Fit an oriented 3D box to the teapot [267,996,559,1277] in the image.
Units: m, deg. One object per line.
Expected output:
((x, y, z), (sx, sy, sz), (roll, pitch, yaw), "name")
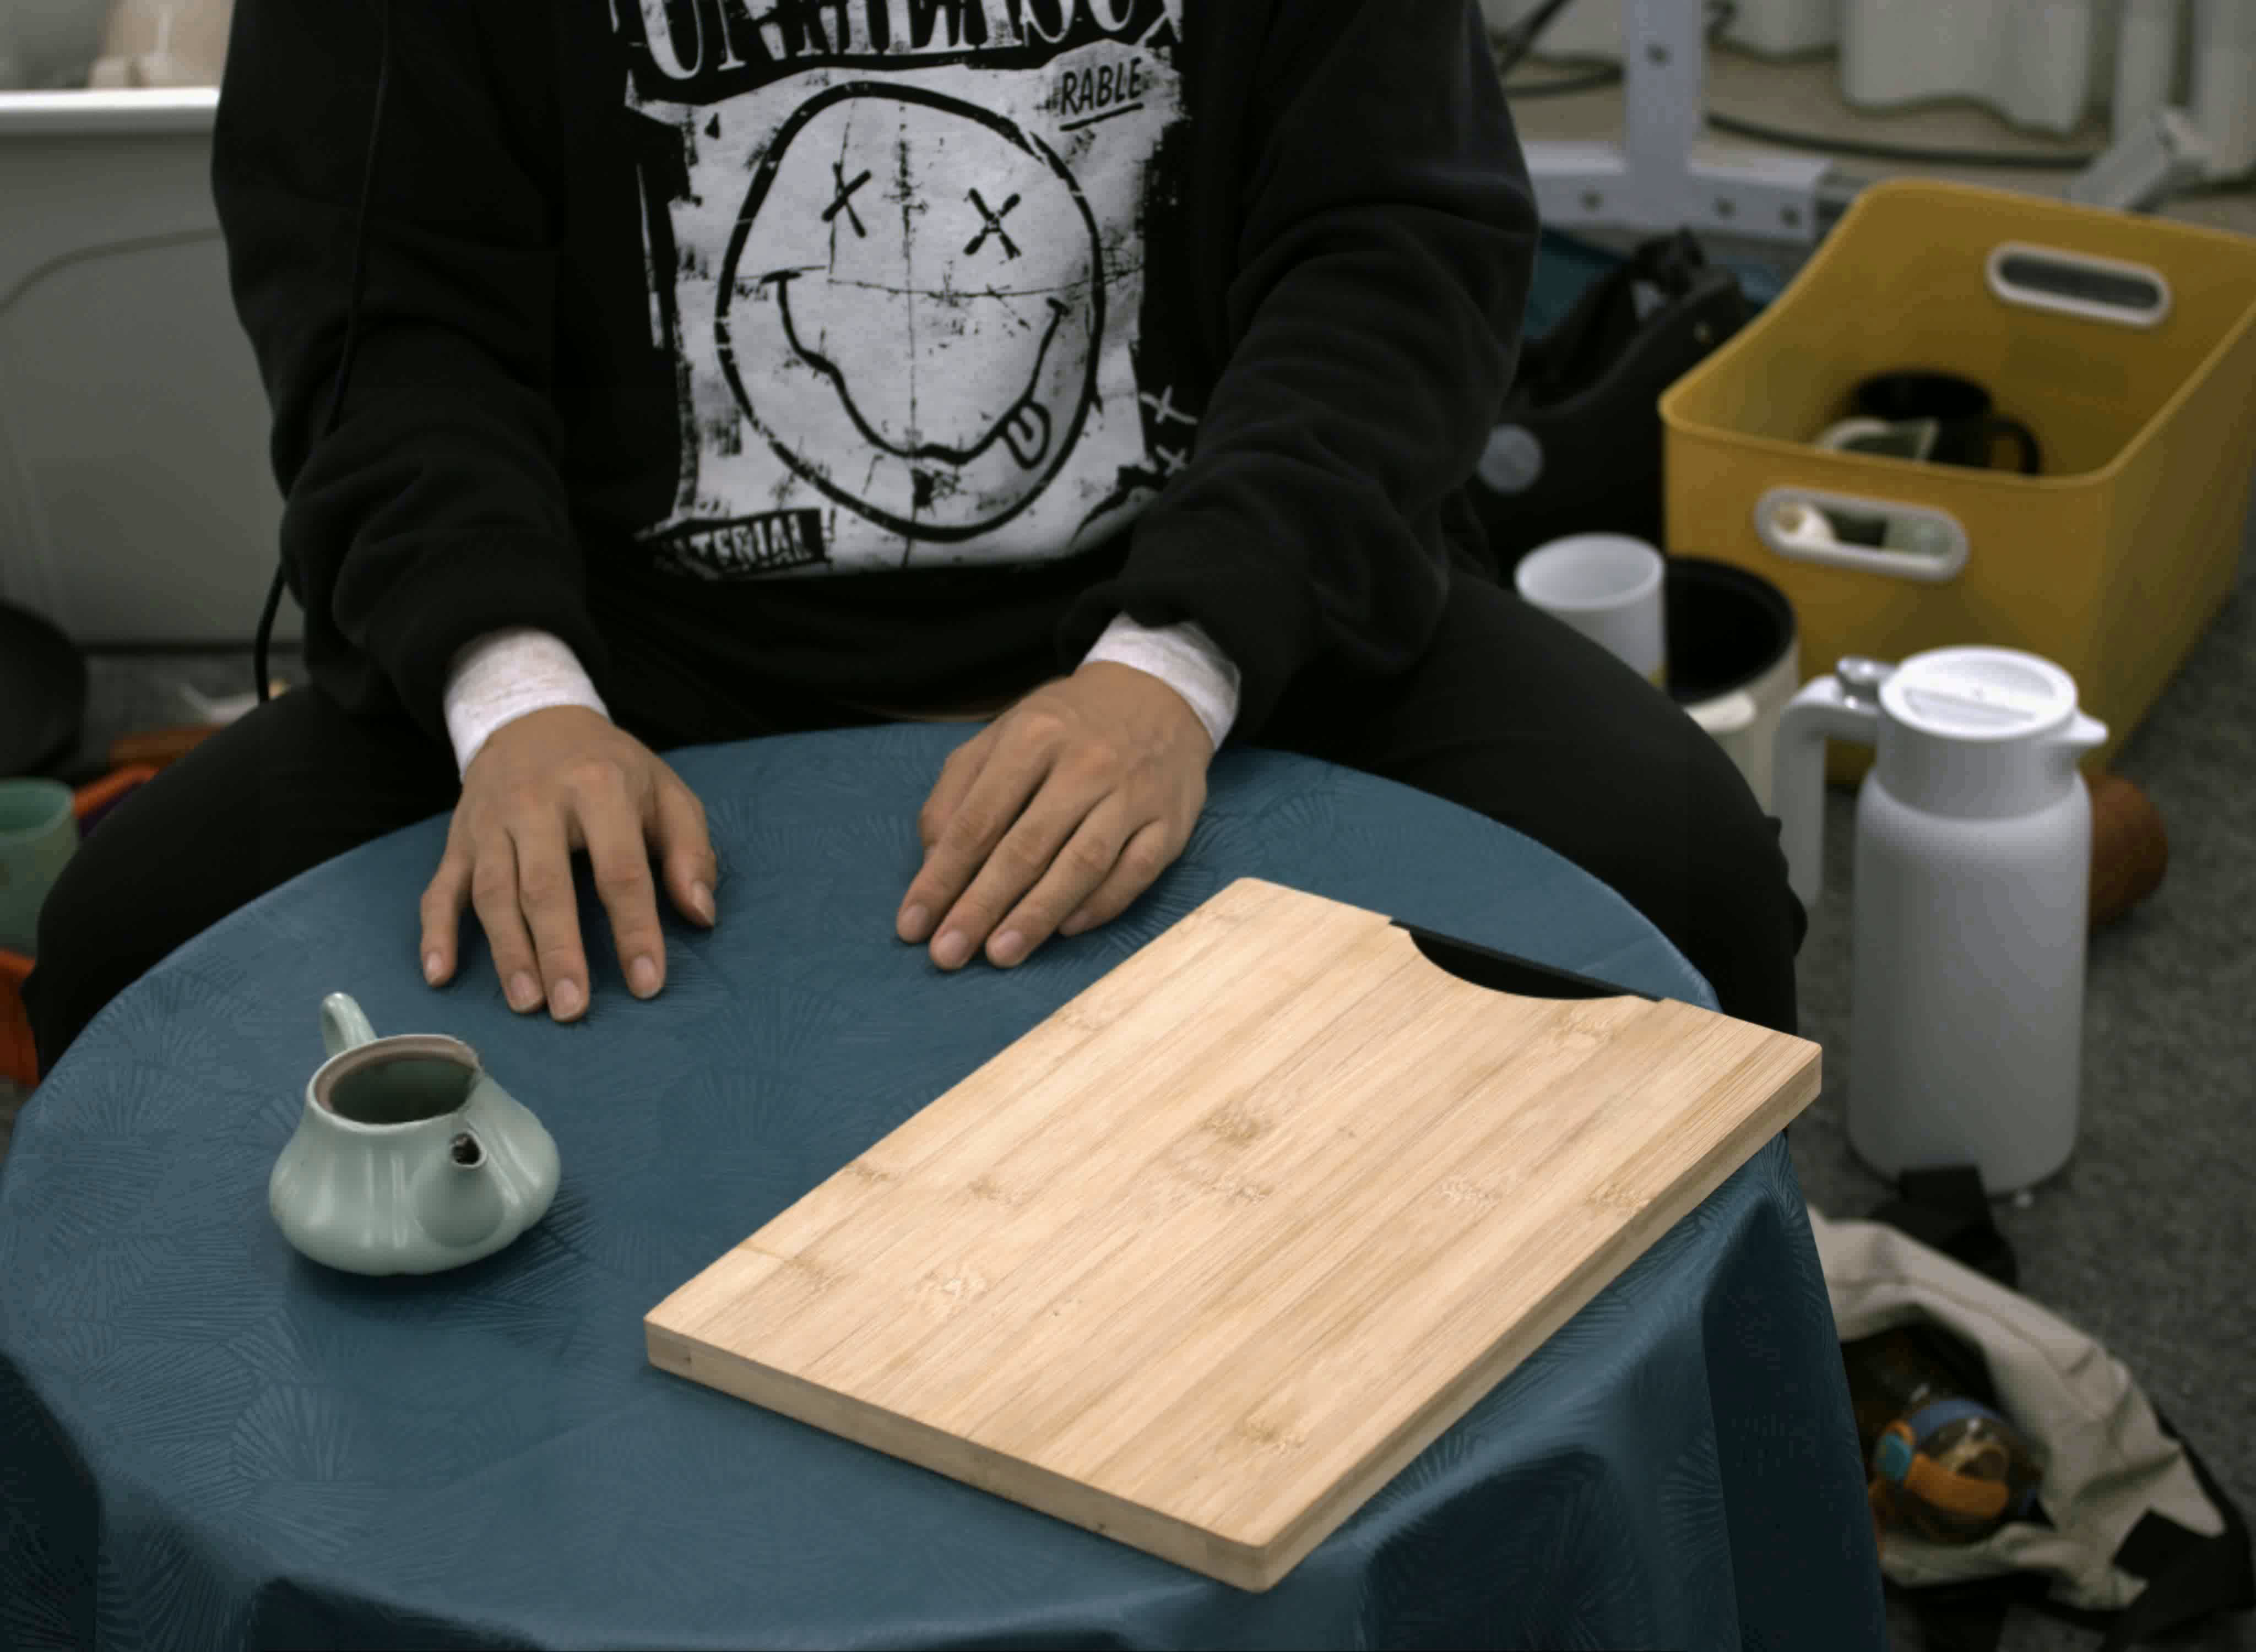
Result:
((-0.239, 0.105, 1.849), (0.097, 0.061, 0.137), (-19, 31, -25), "teapot")

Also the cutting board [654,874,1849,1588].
((0.044, 0.121, 1.838), (0.249, 0.023, 0.354), (15, 32, 31), "cutting board")
